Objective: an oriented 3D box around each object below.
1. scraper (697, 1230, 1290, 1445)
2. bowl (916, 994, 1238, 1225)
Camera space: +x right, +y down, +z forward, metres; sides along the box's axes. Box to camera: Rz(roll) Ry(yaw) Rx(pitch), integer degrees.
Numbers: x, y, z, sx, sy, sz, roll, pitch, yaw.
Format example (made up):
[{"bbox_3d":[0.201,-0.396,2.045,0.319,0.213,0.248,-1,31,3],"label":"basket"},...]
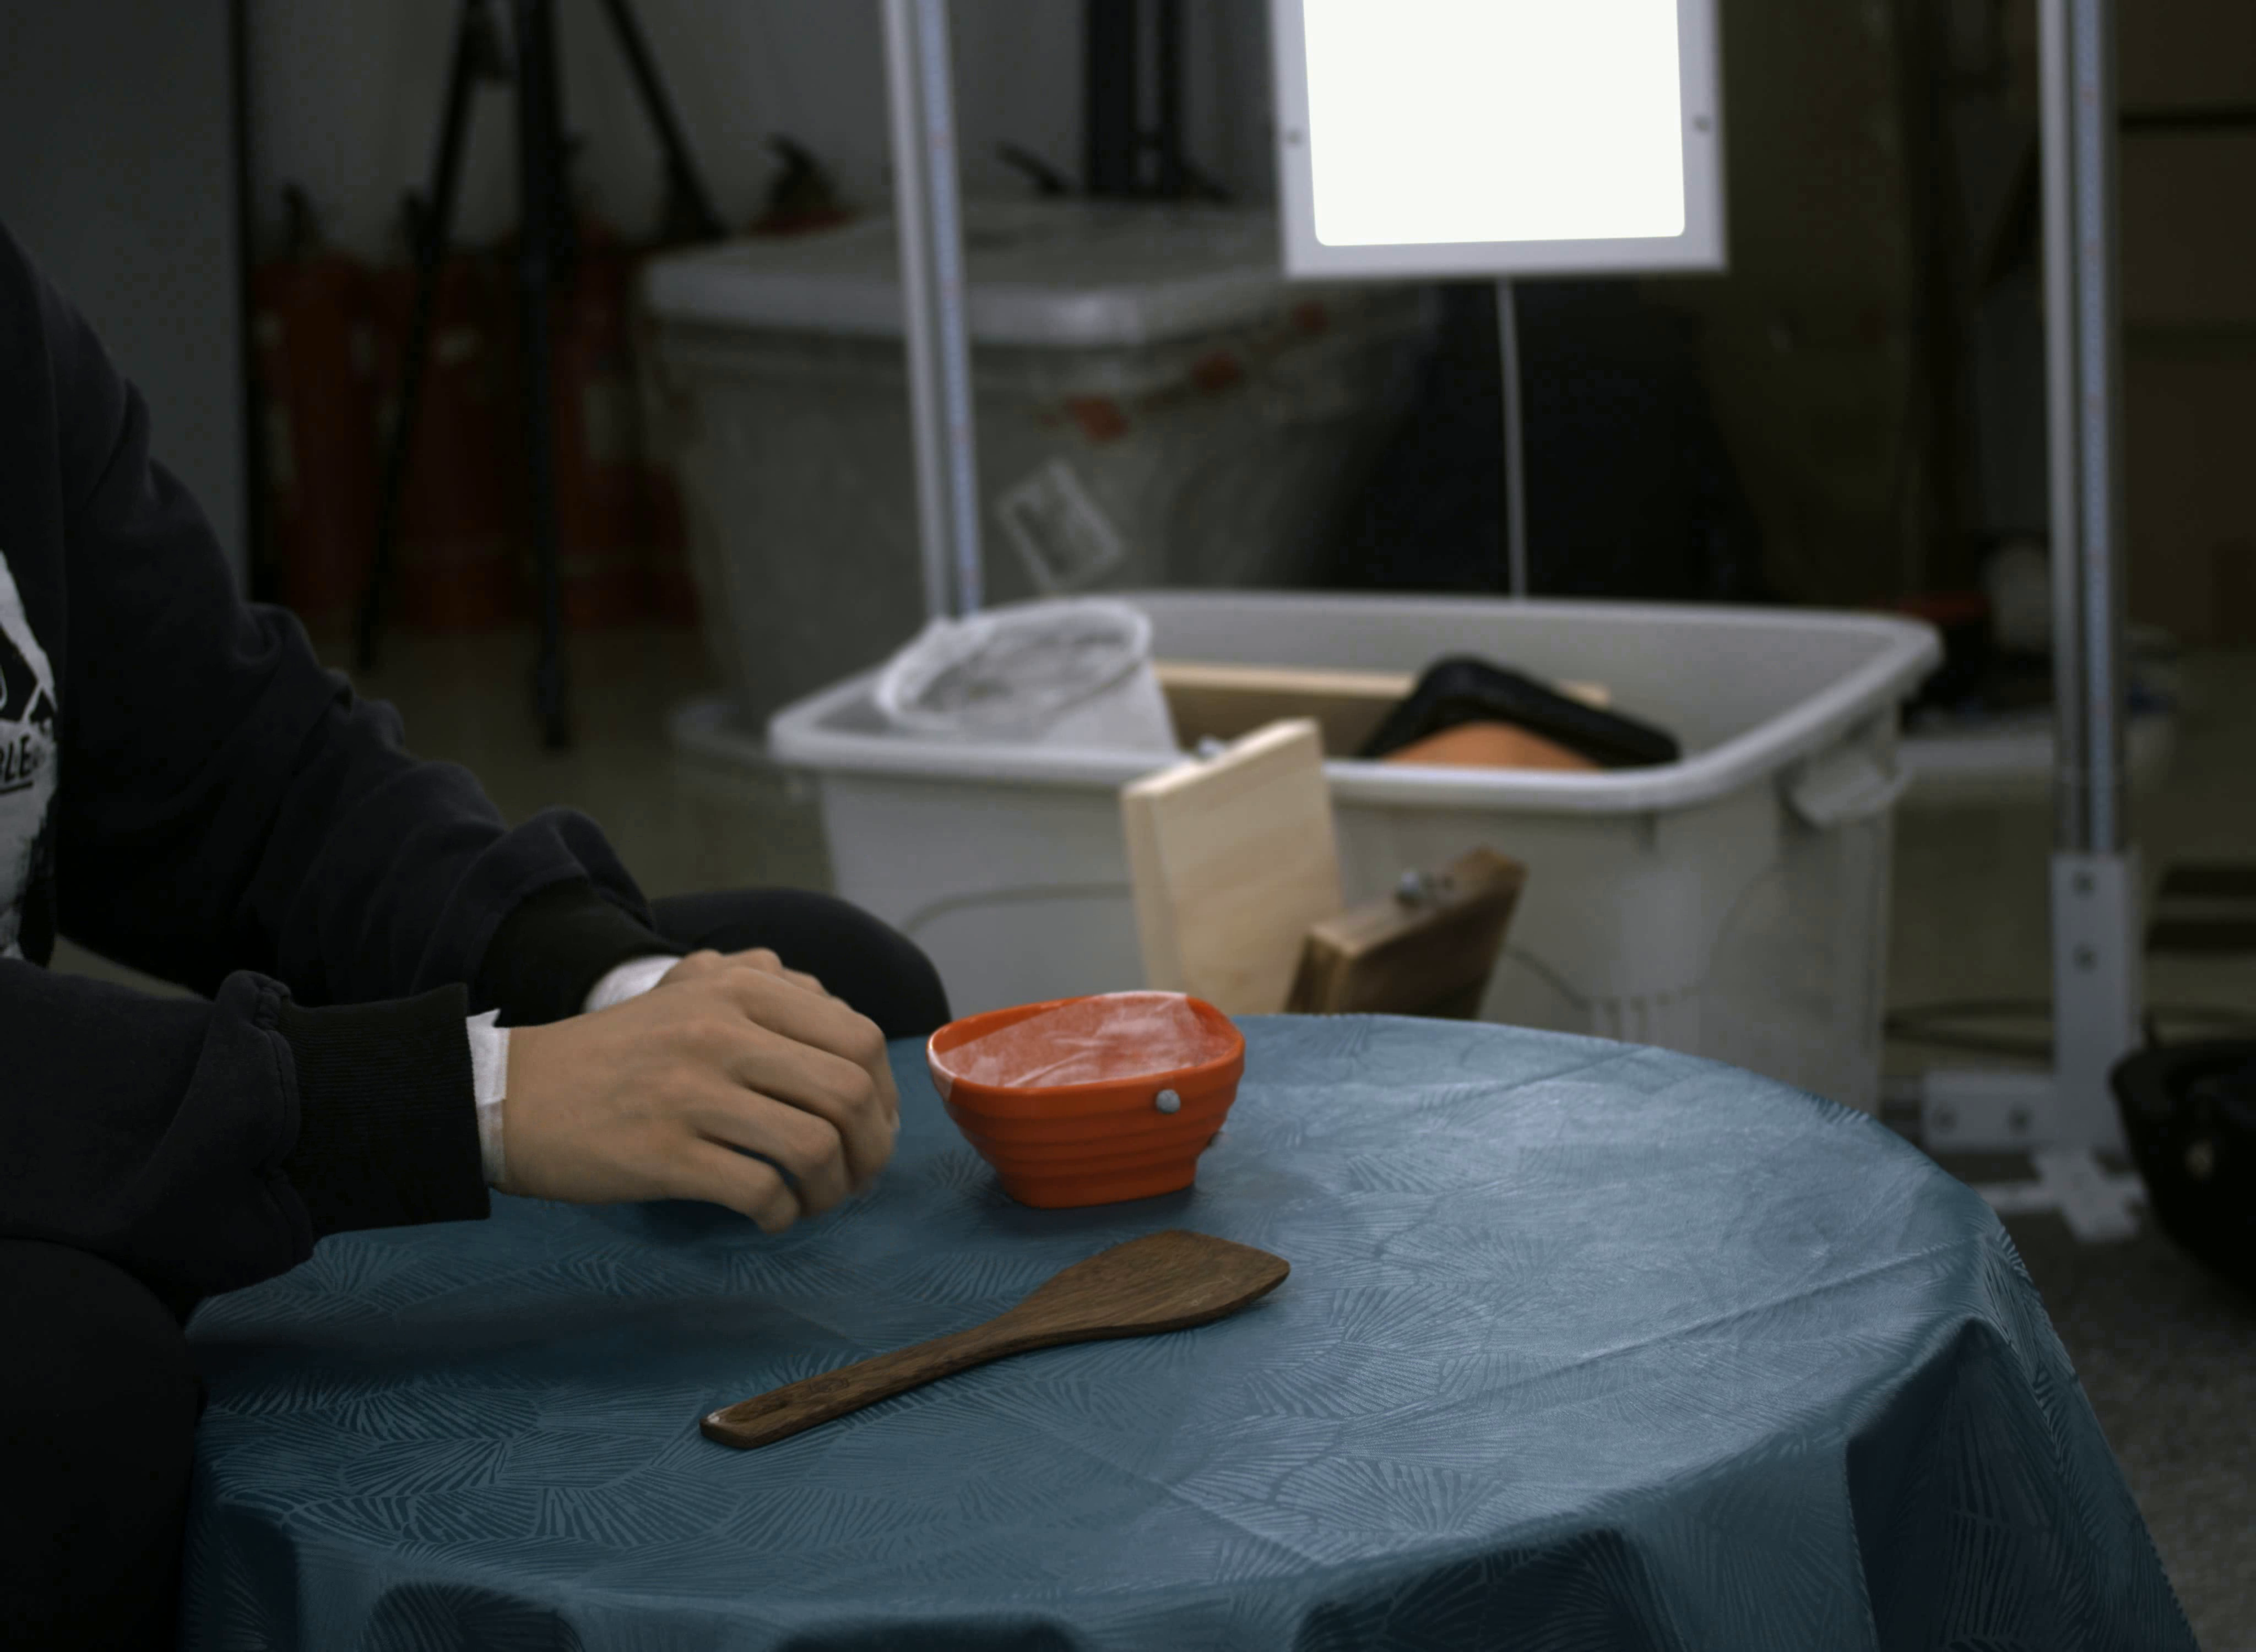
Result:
[{"bbox_3d":[-0.045,0.164,1.745,0.206,0.011,0.077,-15,16,-35],"label":"scraper"},{"bbox_3d":[-0.016,0.102,1.914,0.118,0.051,0.119,-6,18,1],"label":"bowl"}]
